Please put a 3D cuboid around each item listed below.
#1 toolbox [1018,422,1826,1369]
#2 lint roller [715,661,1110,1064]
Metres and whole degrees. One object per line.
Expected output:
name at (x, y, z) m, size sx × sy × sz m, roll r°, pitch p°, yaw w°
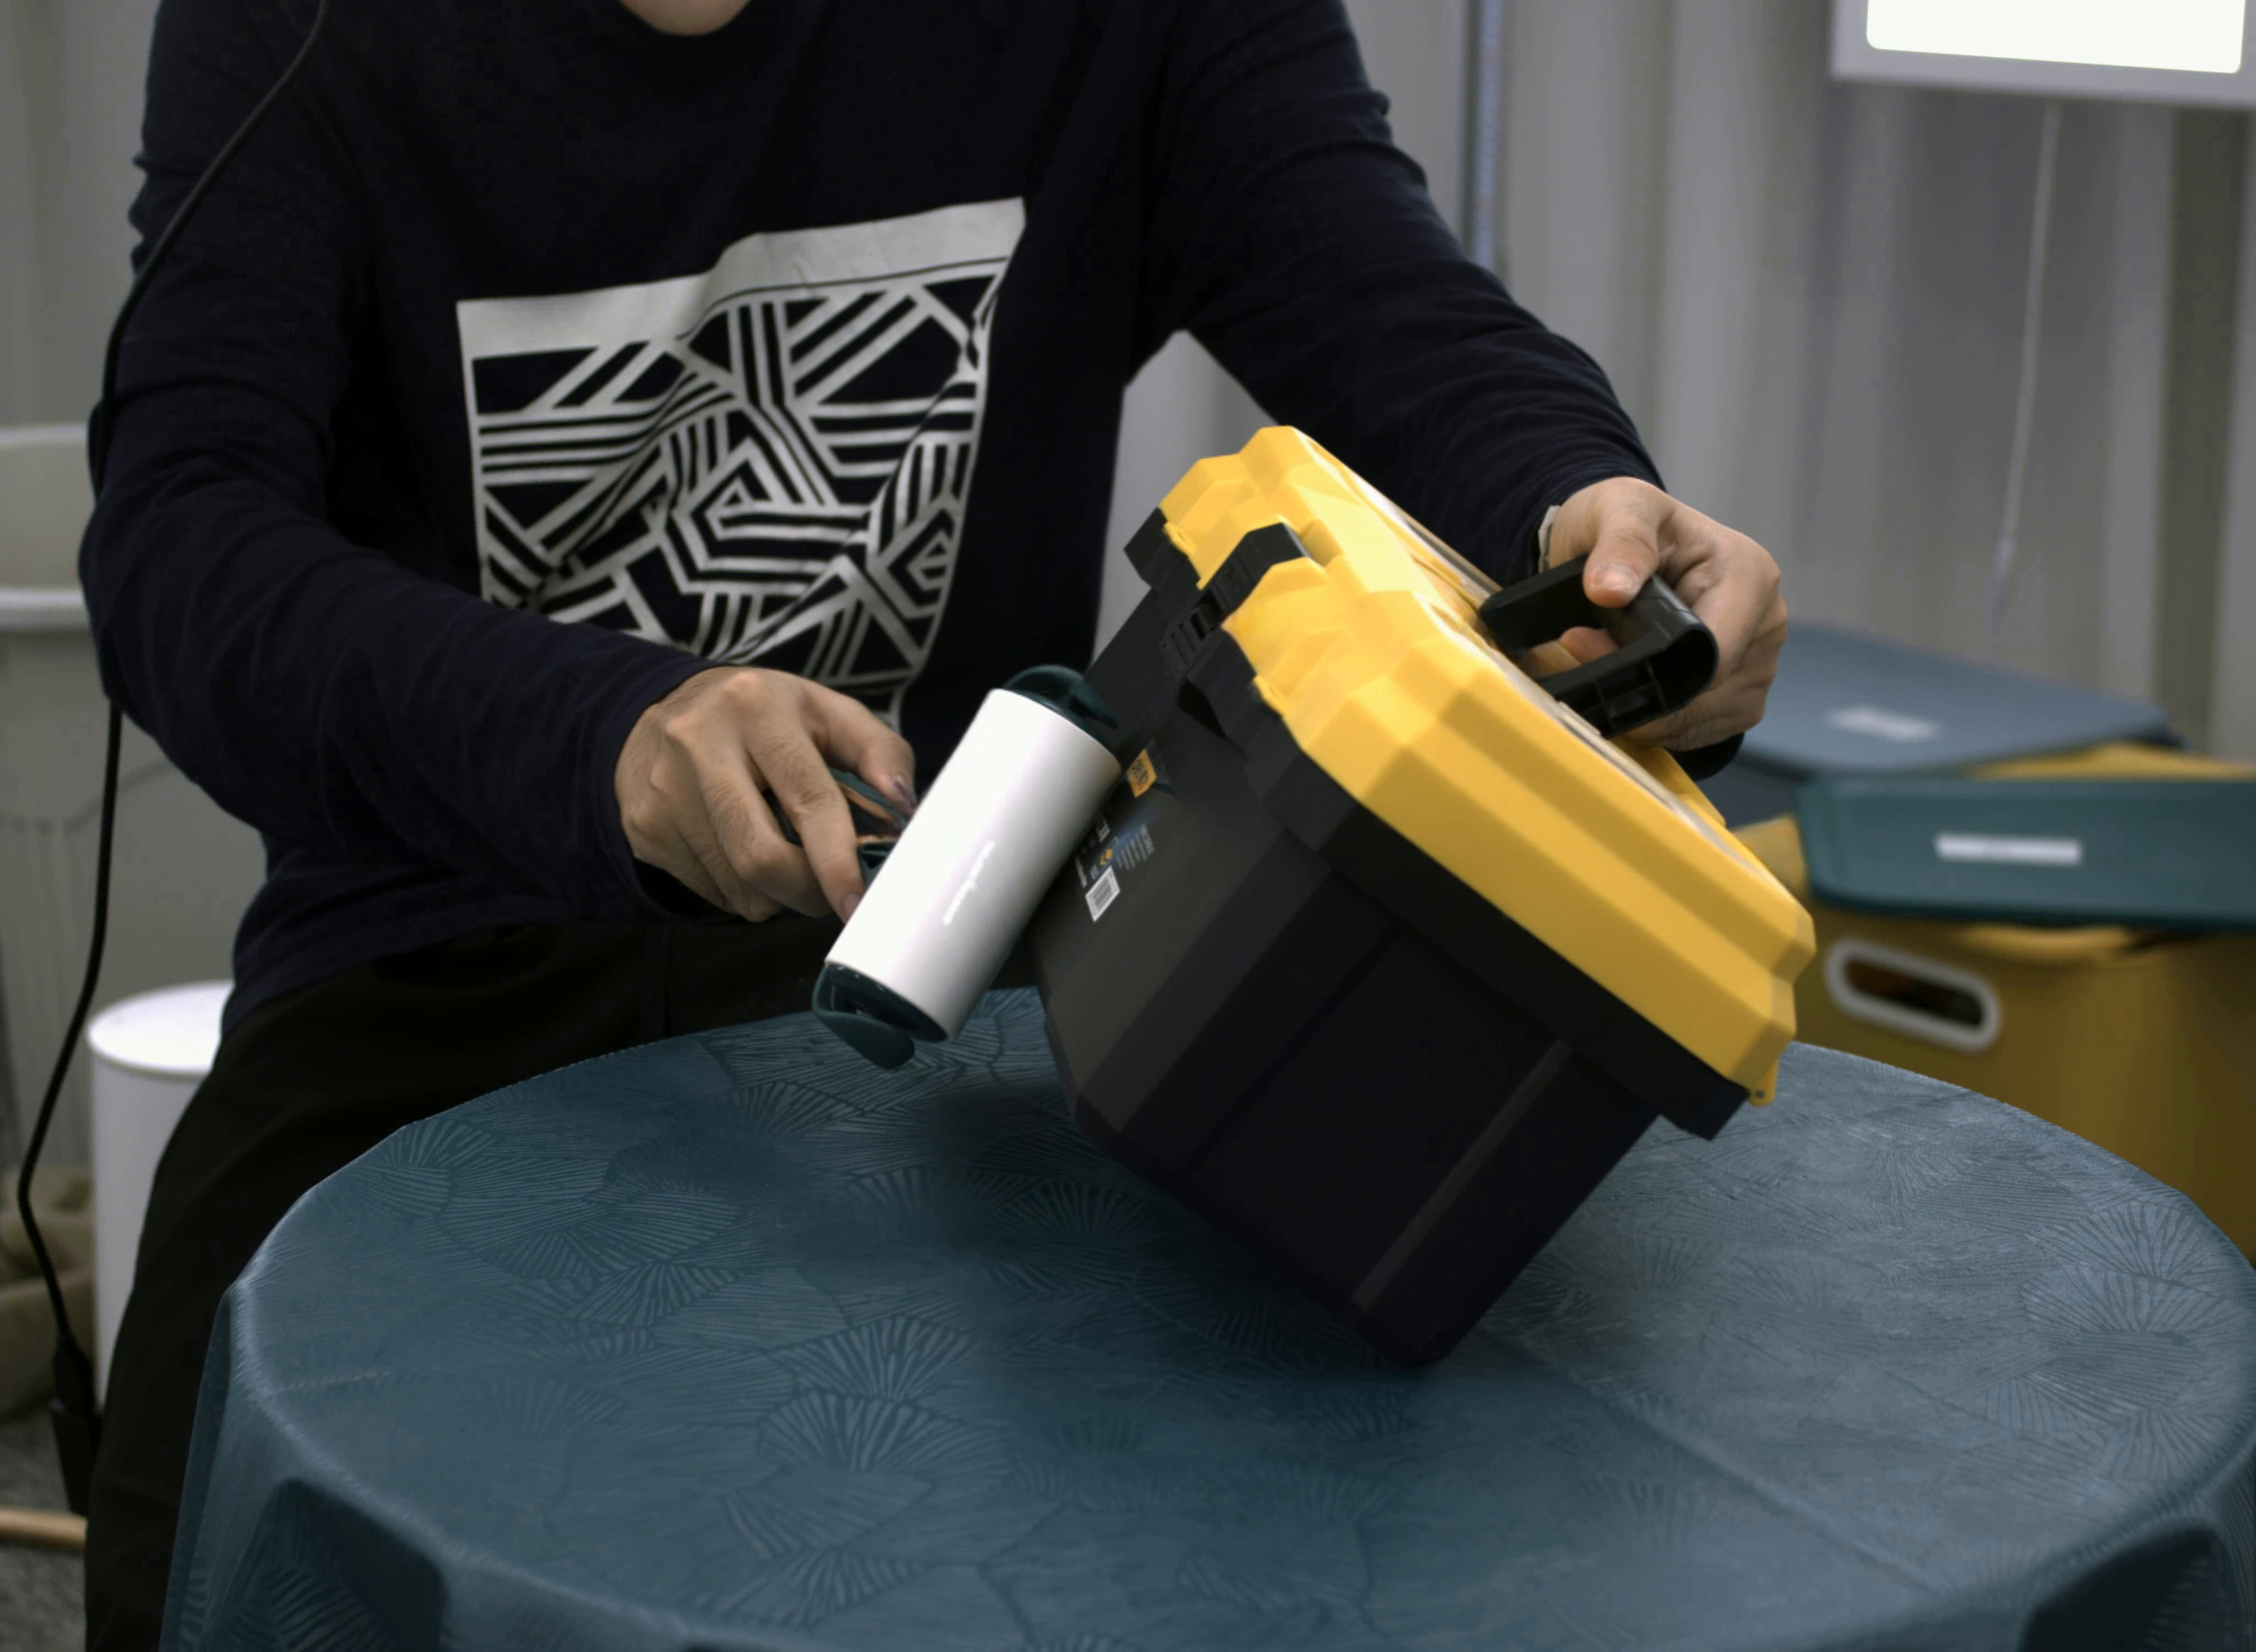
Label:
toolbox at (0.068, 0.012, 1.589) m, size 0.182 × 0.173 × 0.349 m, roll 37°, pitch 8°, yaw -15°
lint roller at (-0.090, 0.001, 1.658) m, size 0.178 × 0.134 × 0.049 m, roll 15°, pitch -20°, yaw 50°
